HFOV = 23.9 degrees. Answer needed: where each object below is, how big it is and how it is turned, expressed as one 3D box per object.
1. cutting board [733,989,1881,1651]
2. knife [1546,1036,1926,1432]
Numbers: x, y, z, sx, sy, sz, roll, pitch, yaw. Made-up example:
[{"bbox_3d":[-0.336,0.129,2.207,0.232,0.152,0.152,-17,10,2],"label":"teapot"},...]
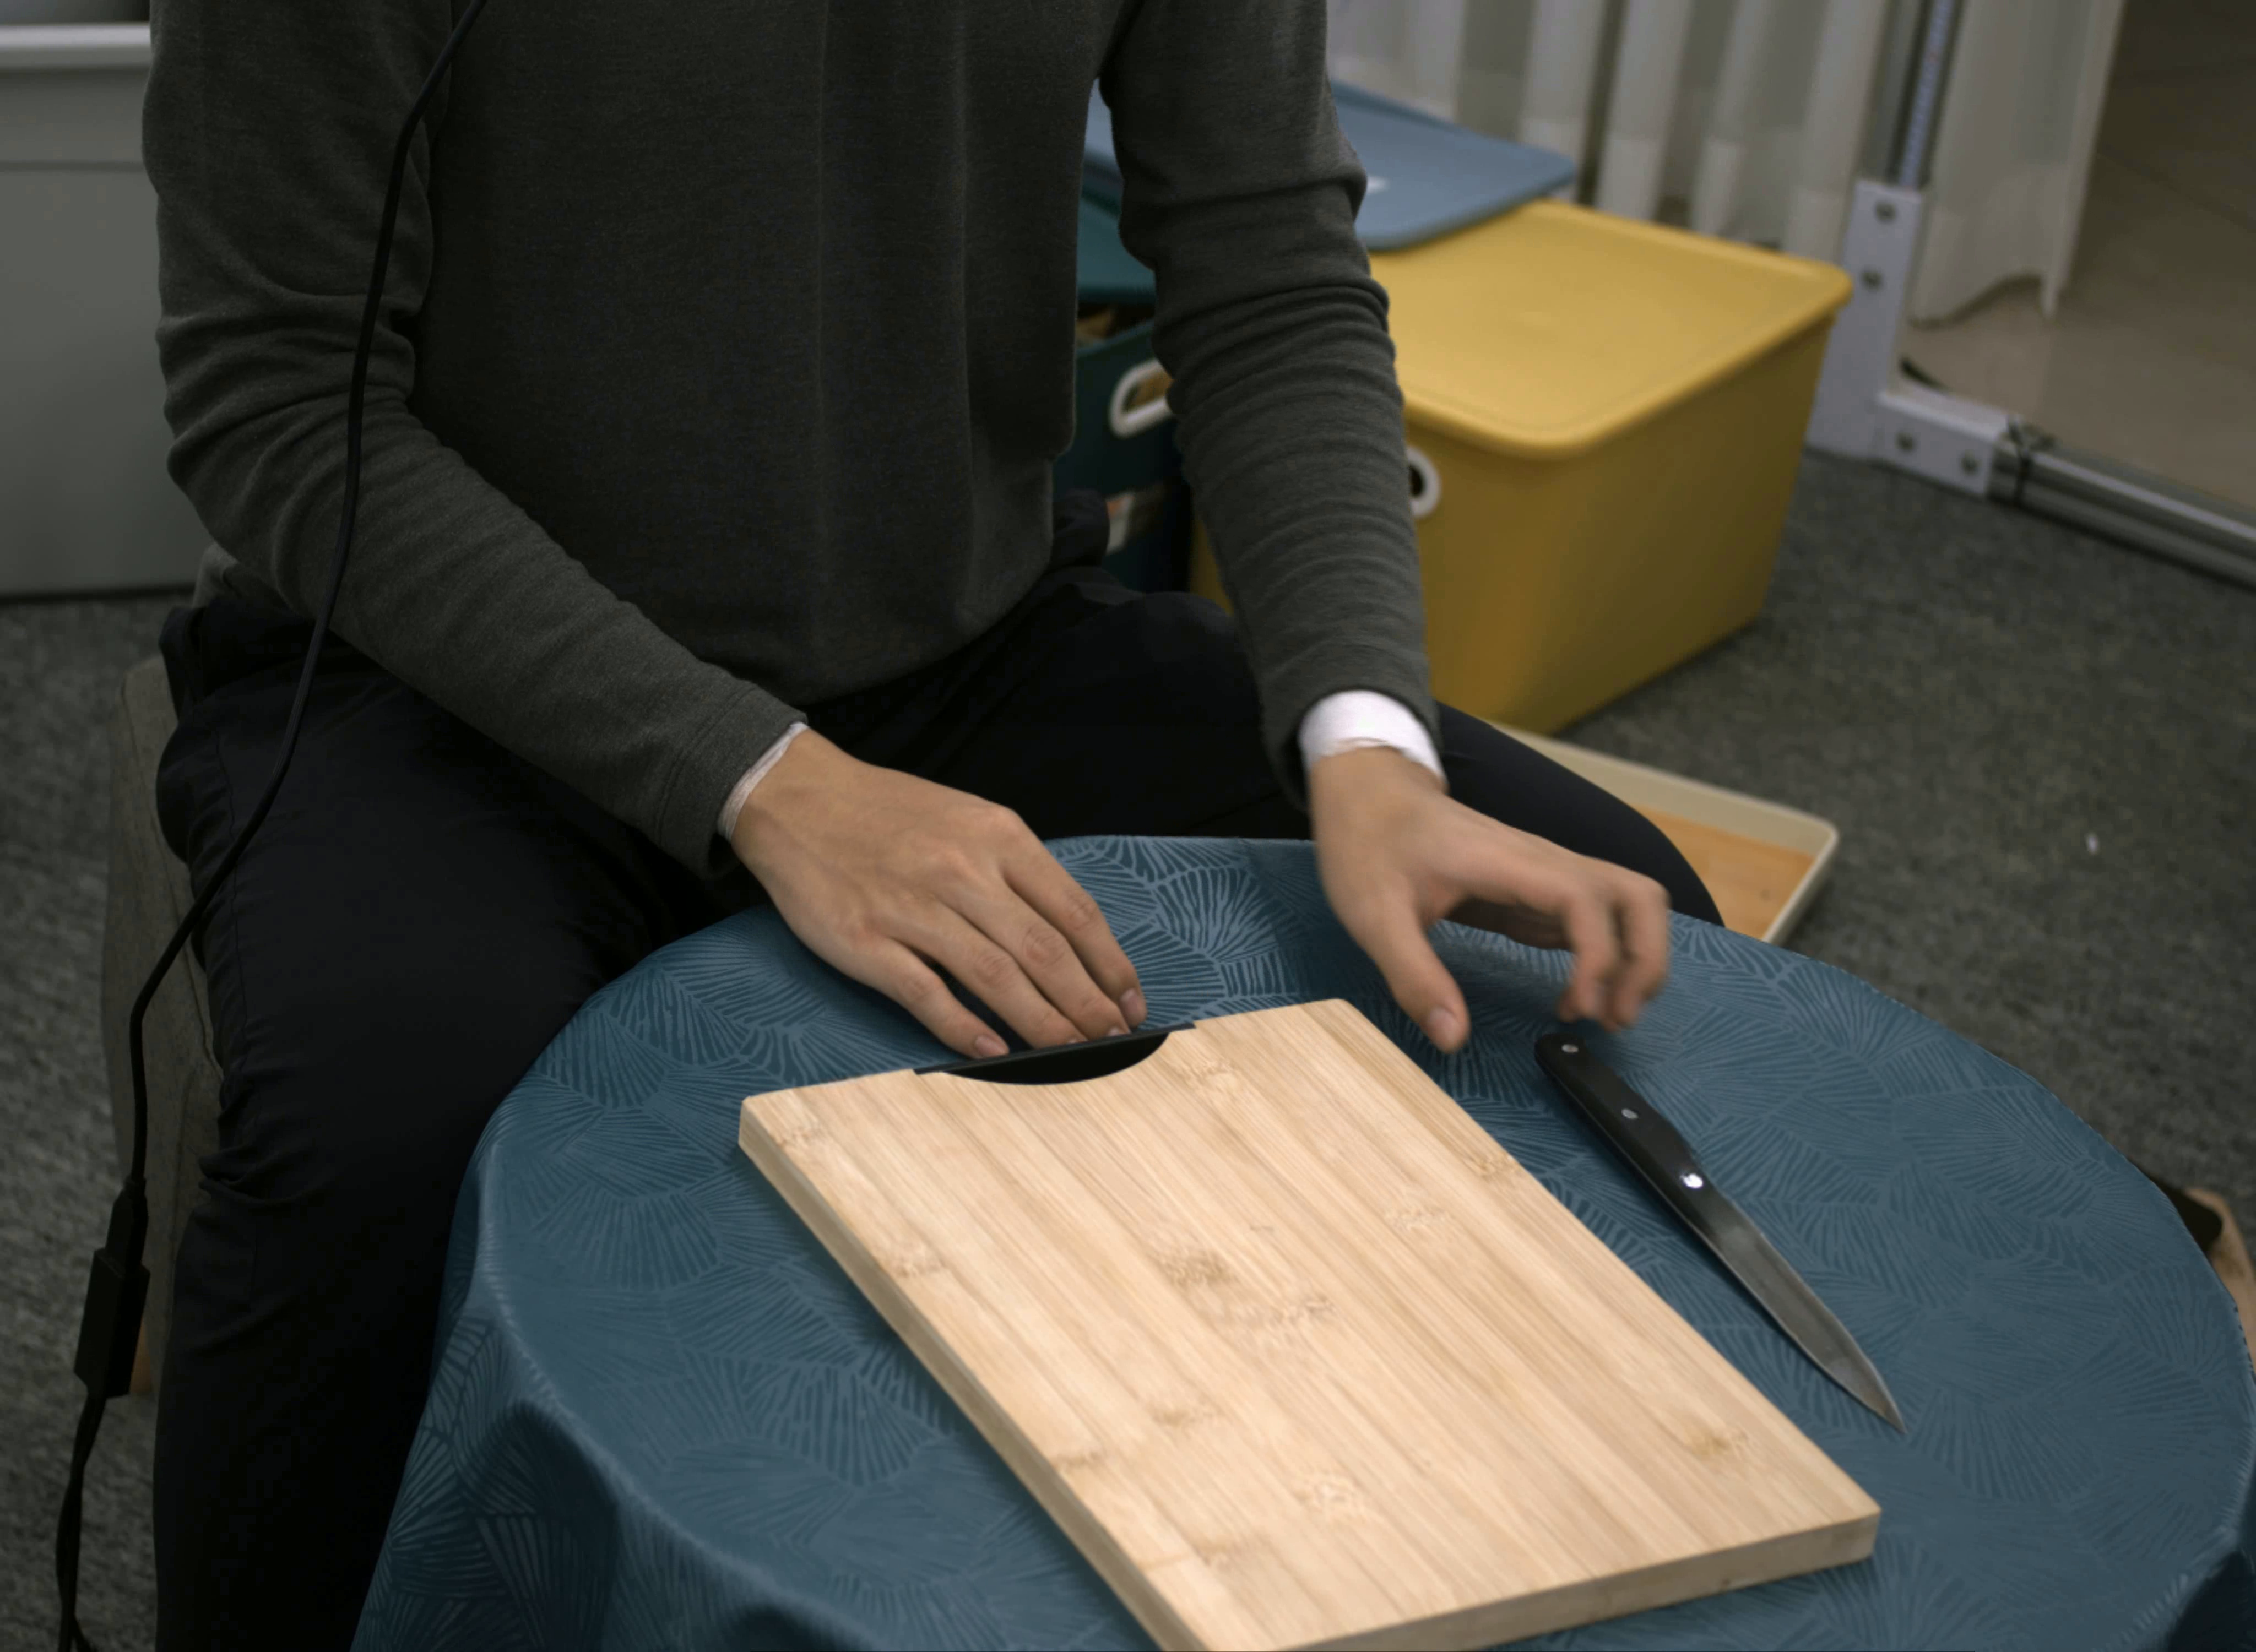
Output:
[{"bbox_3d":[0.049,0.158,1.731,0.249,0.023,0.352,-8,30,-28],"label":"cutting board"},{"bbox_3d":[0.203,0.138,1.810,0.024,0.016,0.240,-10,33,-24],"label":"knife"}]
